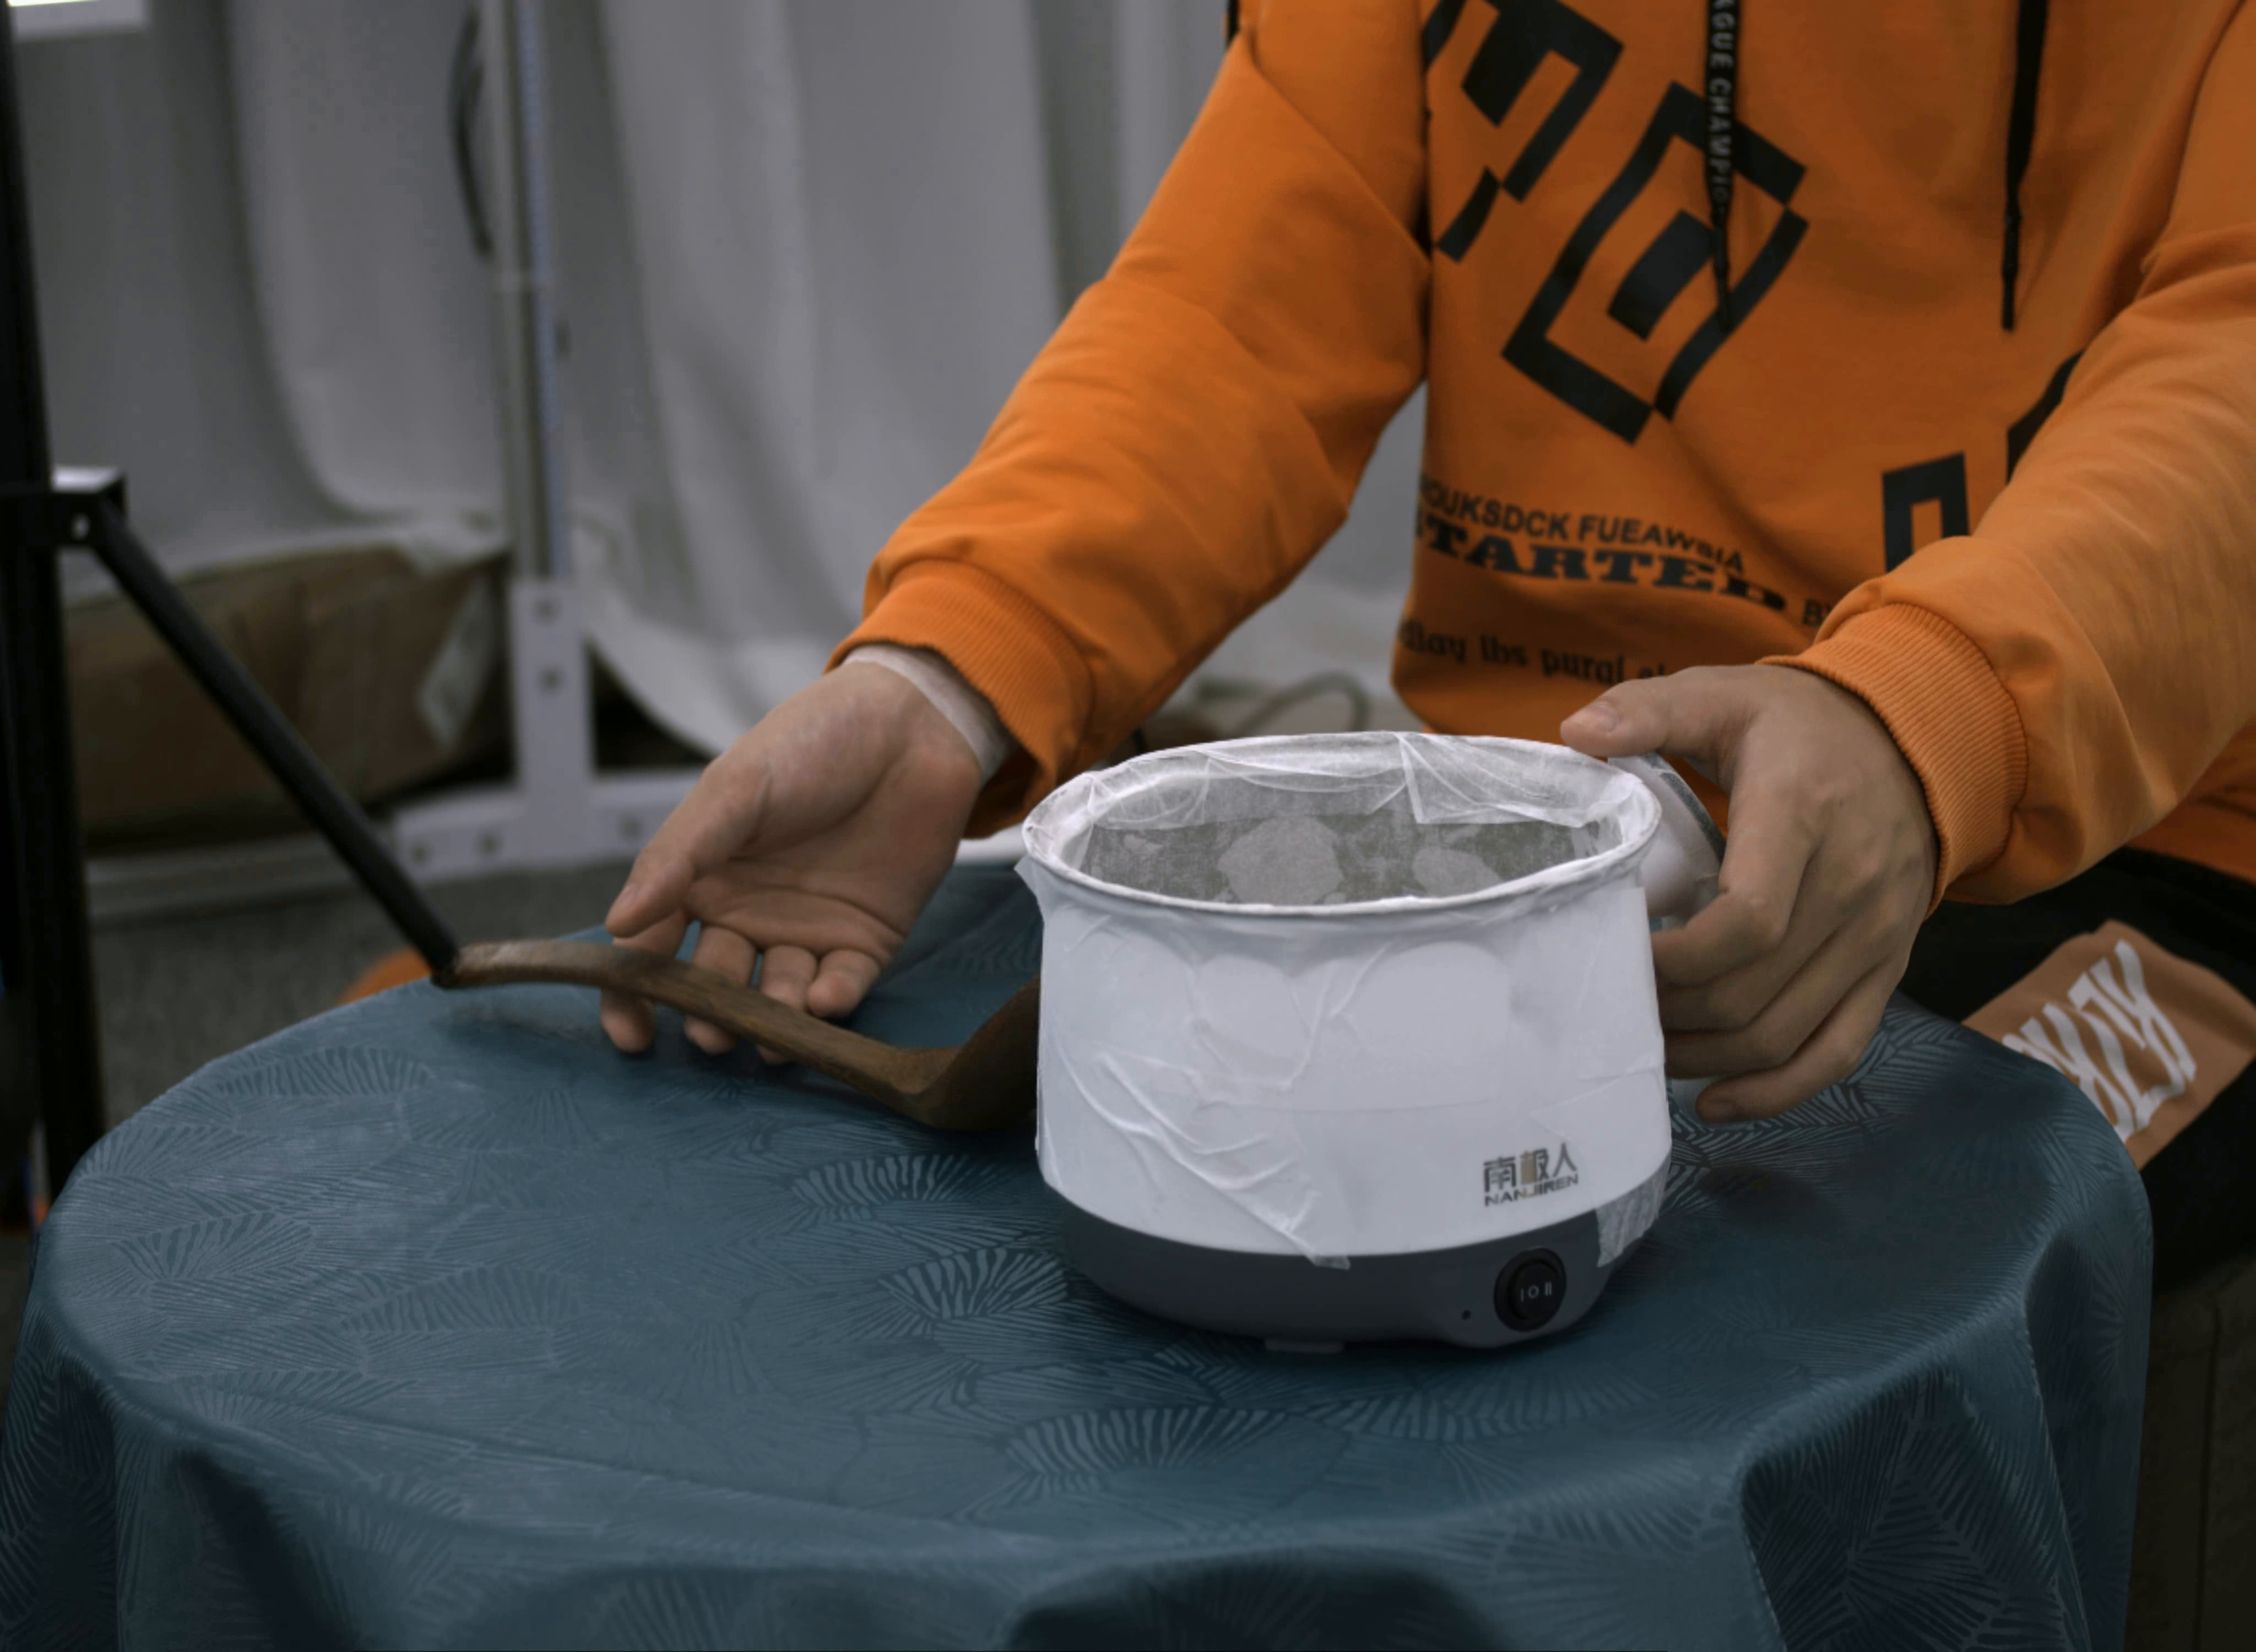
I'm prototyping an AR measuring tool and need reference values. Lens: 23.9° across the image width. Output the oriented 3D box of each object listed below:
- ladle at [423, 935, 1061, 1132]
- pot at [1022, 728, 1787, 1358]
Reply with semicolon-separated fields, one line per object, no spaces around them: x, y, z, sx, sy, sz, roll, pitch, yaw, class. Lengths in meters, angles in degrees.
-0.118;0.044;1.668;0.280;0.071;0.074;13;23;37;ladle
0.085;0.053;1.485;0.228;0.136;0.183;-12;19;-29;pot
